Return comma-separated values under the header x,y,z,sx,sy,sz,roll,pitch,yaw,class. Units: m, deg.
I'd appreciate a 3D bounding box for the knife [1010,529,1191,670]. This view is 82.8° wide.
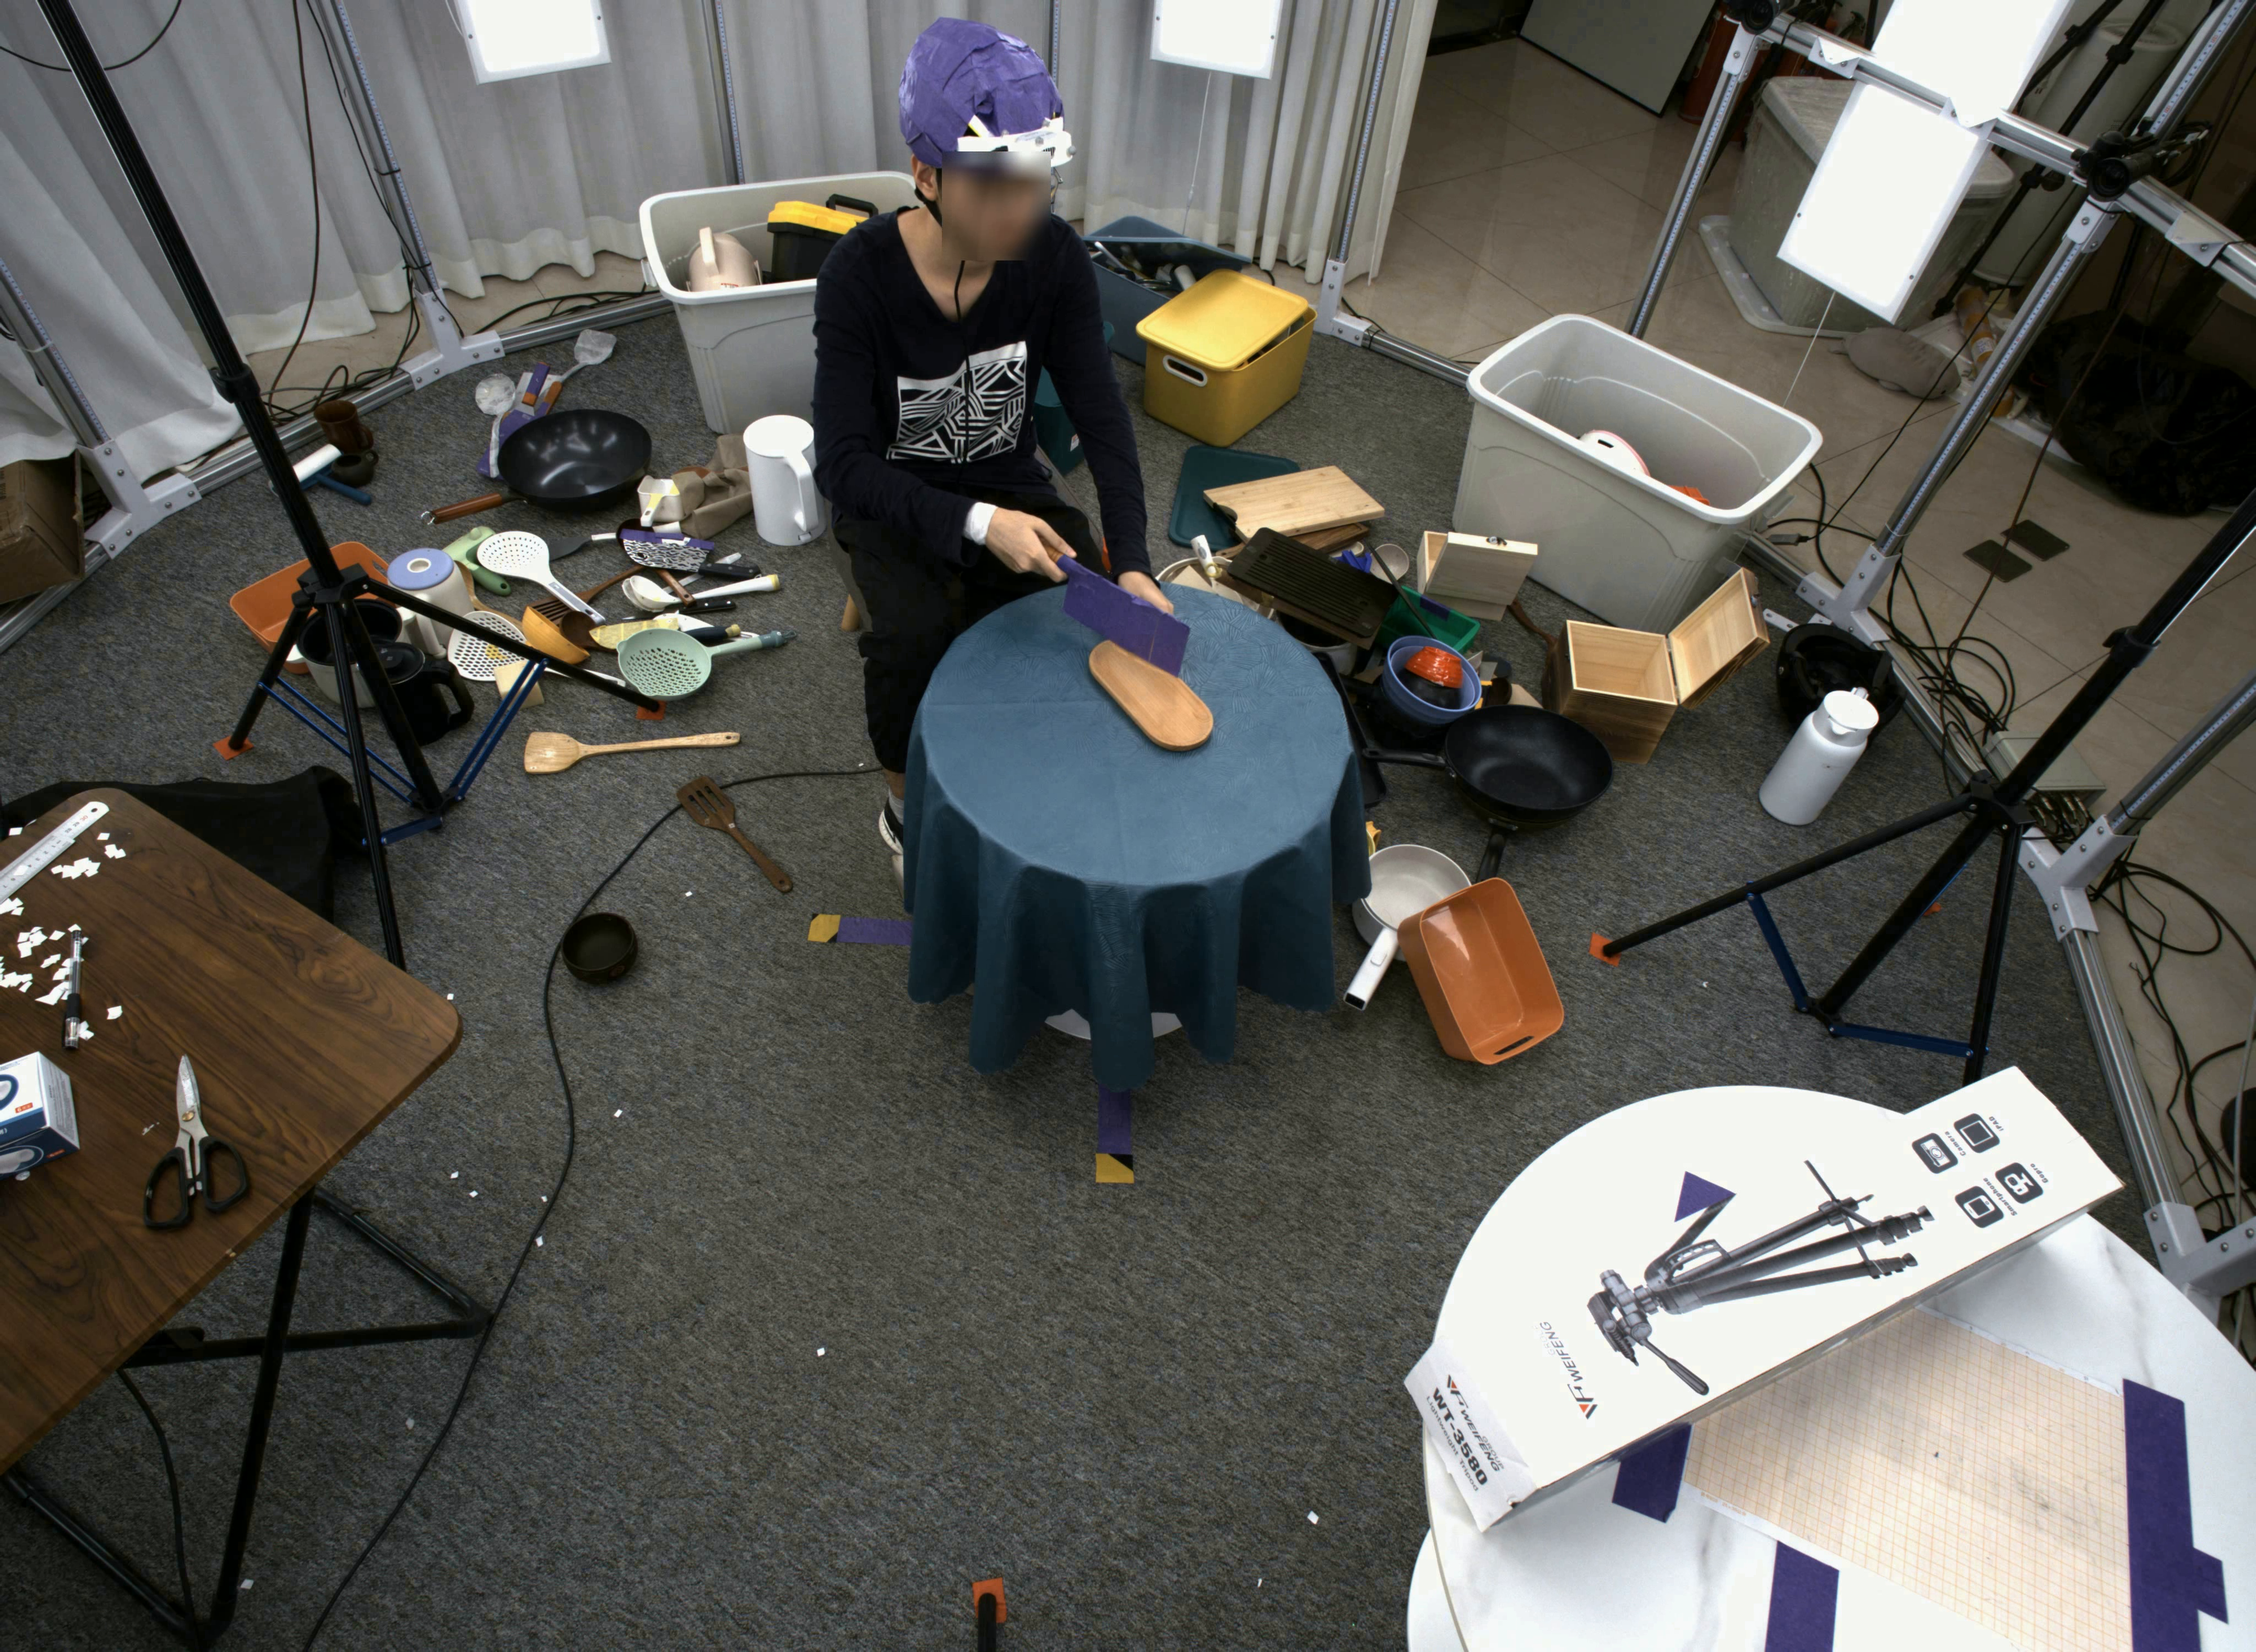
x,y,z,sx,sy,sz,roll,pitch,yaw,class
-0.047,-0.322,1.853,0.319,0.101,0.032,33,44,22,knife

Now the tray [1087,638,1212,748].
x,y,z,sx,sy,sz,roll,pitch,yaw,class
0.029,-0.191,1.823,0.102,0.020,0.235,-27,55,-24,tray
